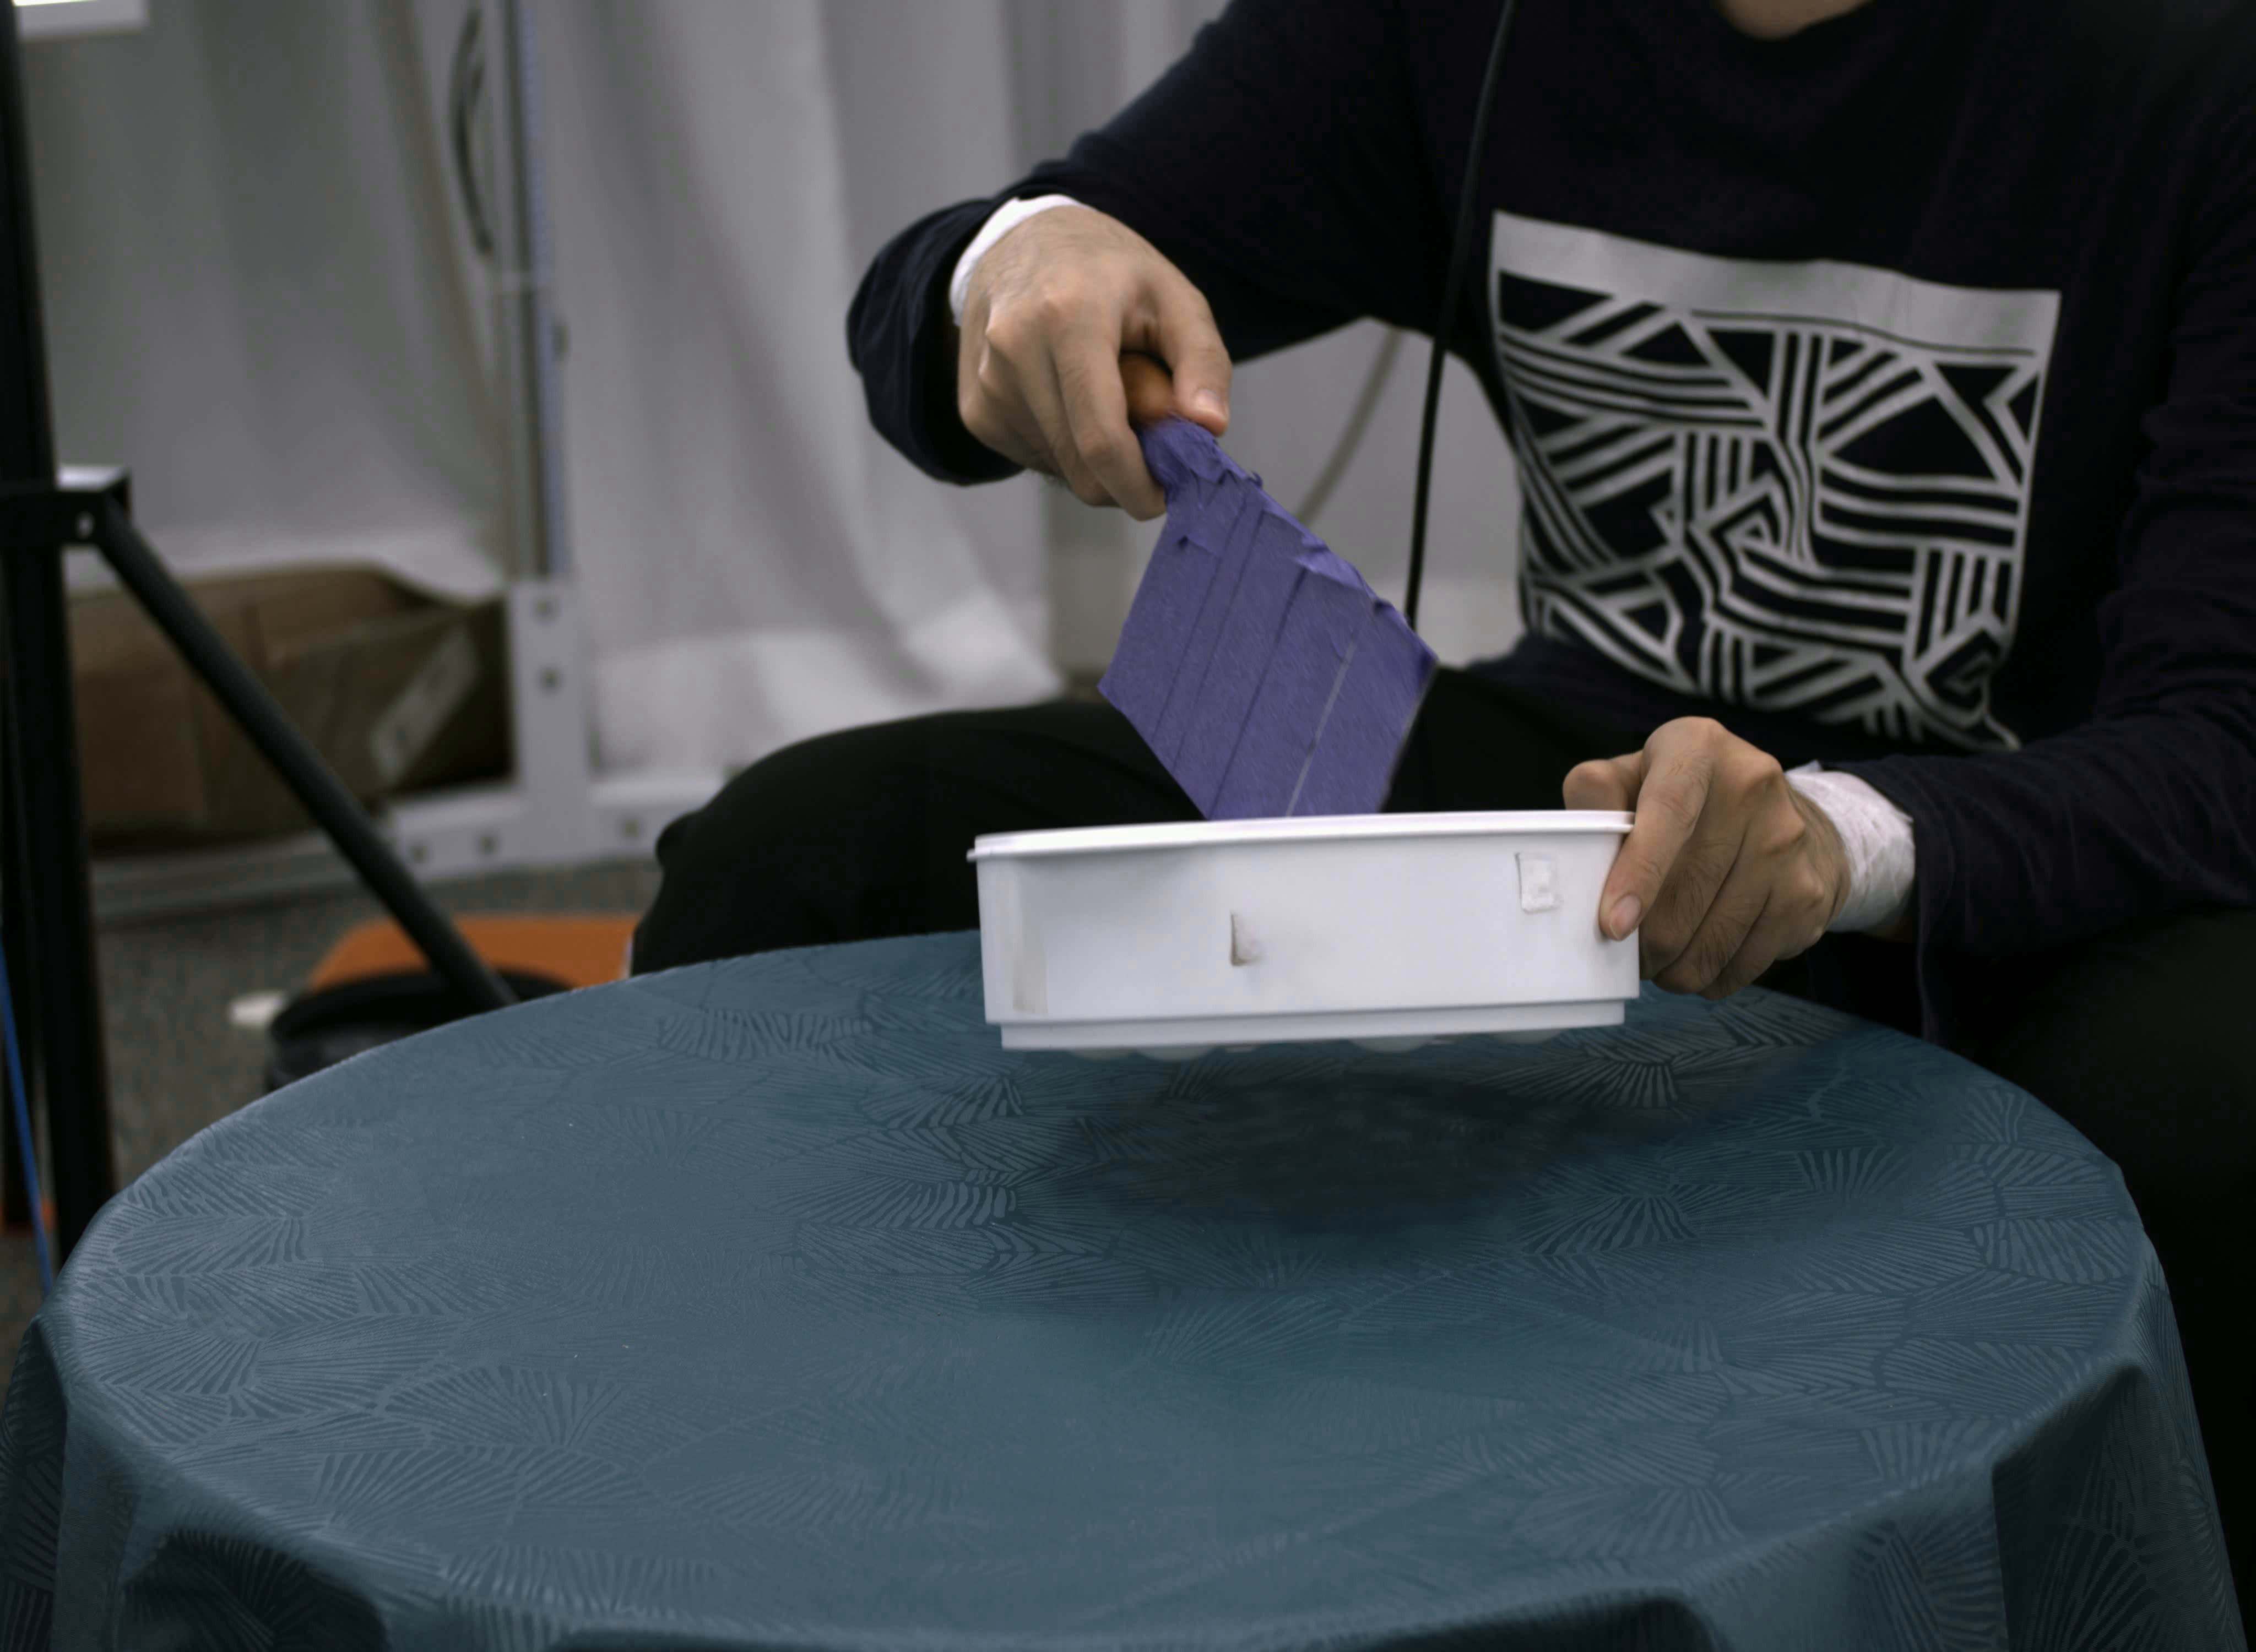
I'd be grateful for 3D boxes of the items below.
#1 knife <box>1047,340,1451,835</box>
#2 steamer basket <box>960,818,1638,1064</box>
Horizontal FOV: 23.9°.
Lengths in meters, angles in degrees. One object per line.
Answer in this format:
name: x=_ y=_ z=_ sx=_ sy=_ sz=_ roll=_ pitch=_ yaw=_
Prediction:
knife: x=0.021 y=-0.066 z=1.628 sx=0.031 sy=0.104 sz=0.320 roll=18 pitch=14 yaw=-23
steamer basket: x=0.050 y=0.036 z=1.569 sx=0.206 sy=0.069 sz=0.224 roll=-3 pitch=-4 yaw=42
